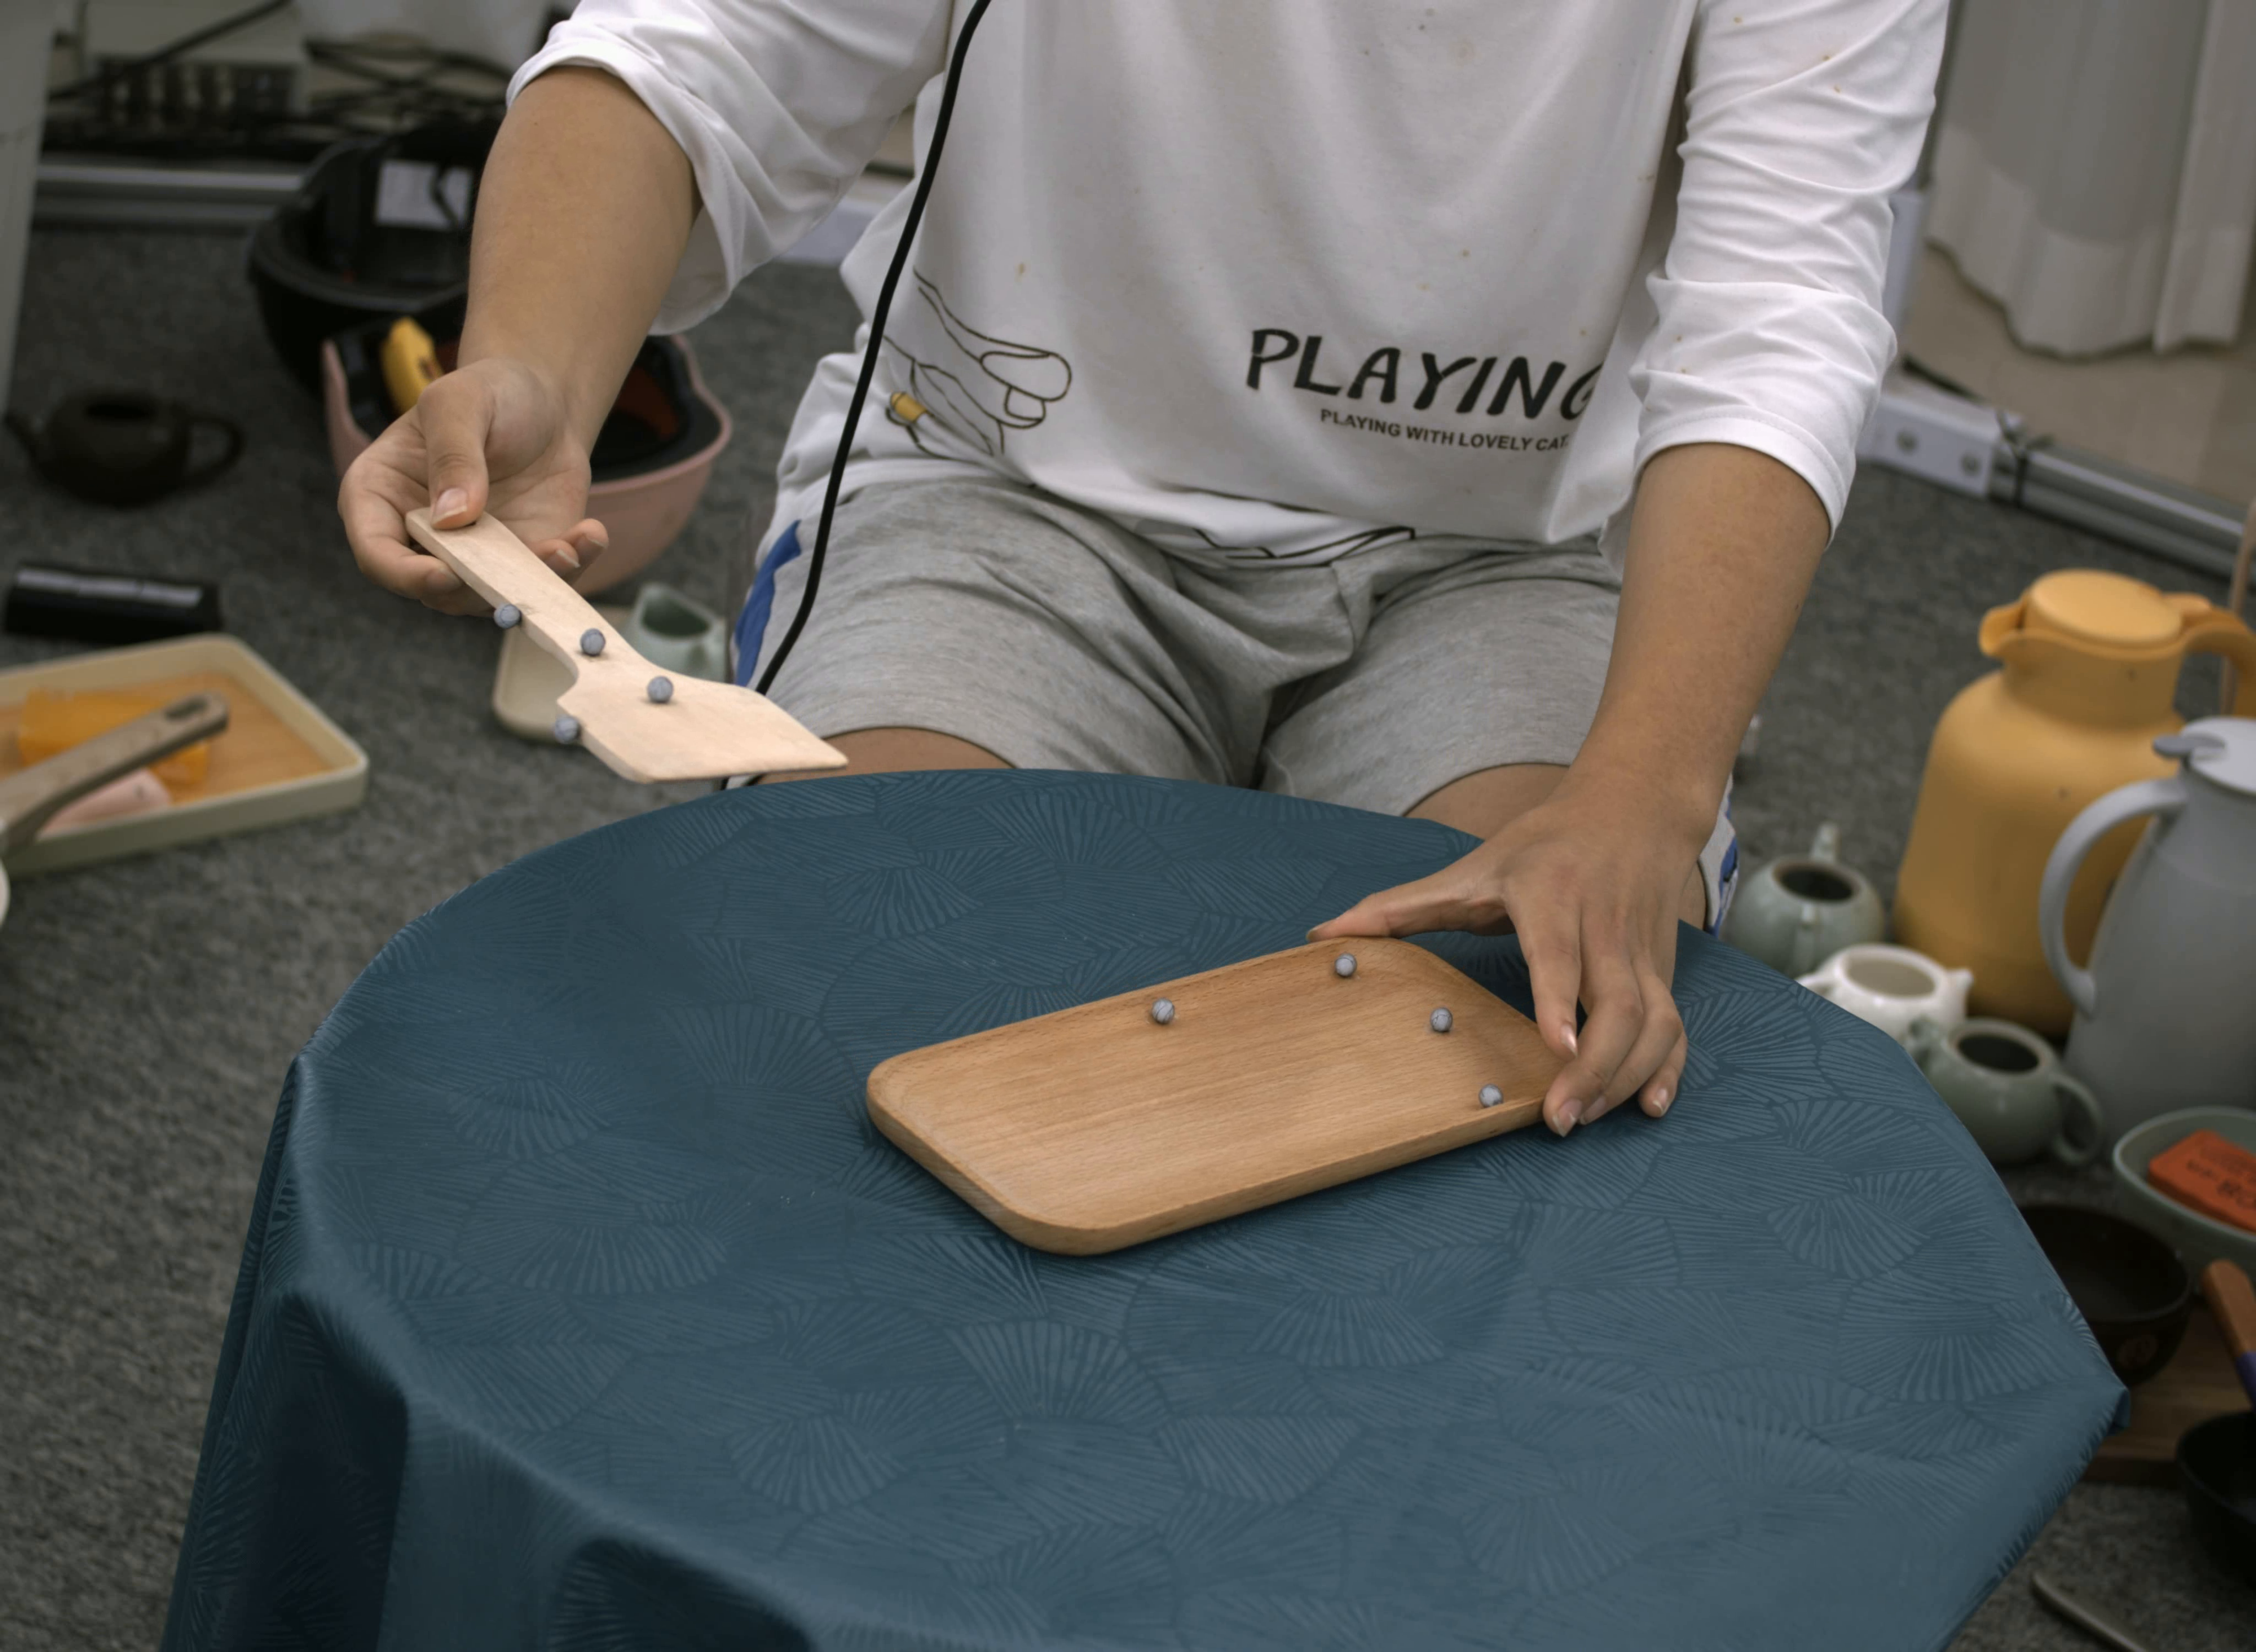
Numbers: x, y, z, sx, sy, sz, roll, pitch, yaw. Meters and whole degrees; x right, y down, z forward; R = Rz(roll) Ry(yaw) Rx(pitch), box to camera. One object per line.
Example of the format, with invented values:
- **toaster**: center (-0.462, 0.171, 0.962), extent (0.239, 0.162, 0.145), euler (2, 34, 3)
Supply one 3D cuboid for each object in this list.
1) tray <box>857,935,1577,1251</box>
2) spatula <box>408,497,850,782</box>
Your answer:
- **tray**: center (0.033, 0.092, 1.860), extent (0.249, 0.023, 0.131), euler (-13, 30, -33)
- **spatula**: center (-0.182, -0.064, 1.772), extent (0.072, 0.010, 0.295), euler (-5, 22, -26)
